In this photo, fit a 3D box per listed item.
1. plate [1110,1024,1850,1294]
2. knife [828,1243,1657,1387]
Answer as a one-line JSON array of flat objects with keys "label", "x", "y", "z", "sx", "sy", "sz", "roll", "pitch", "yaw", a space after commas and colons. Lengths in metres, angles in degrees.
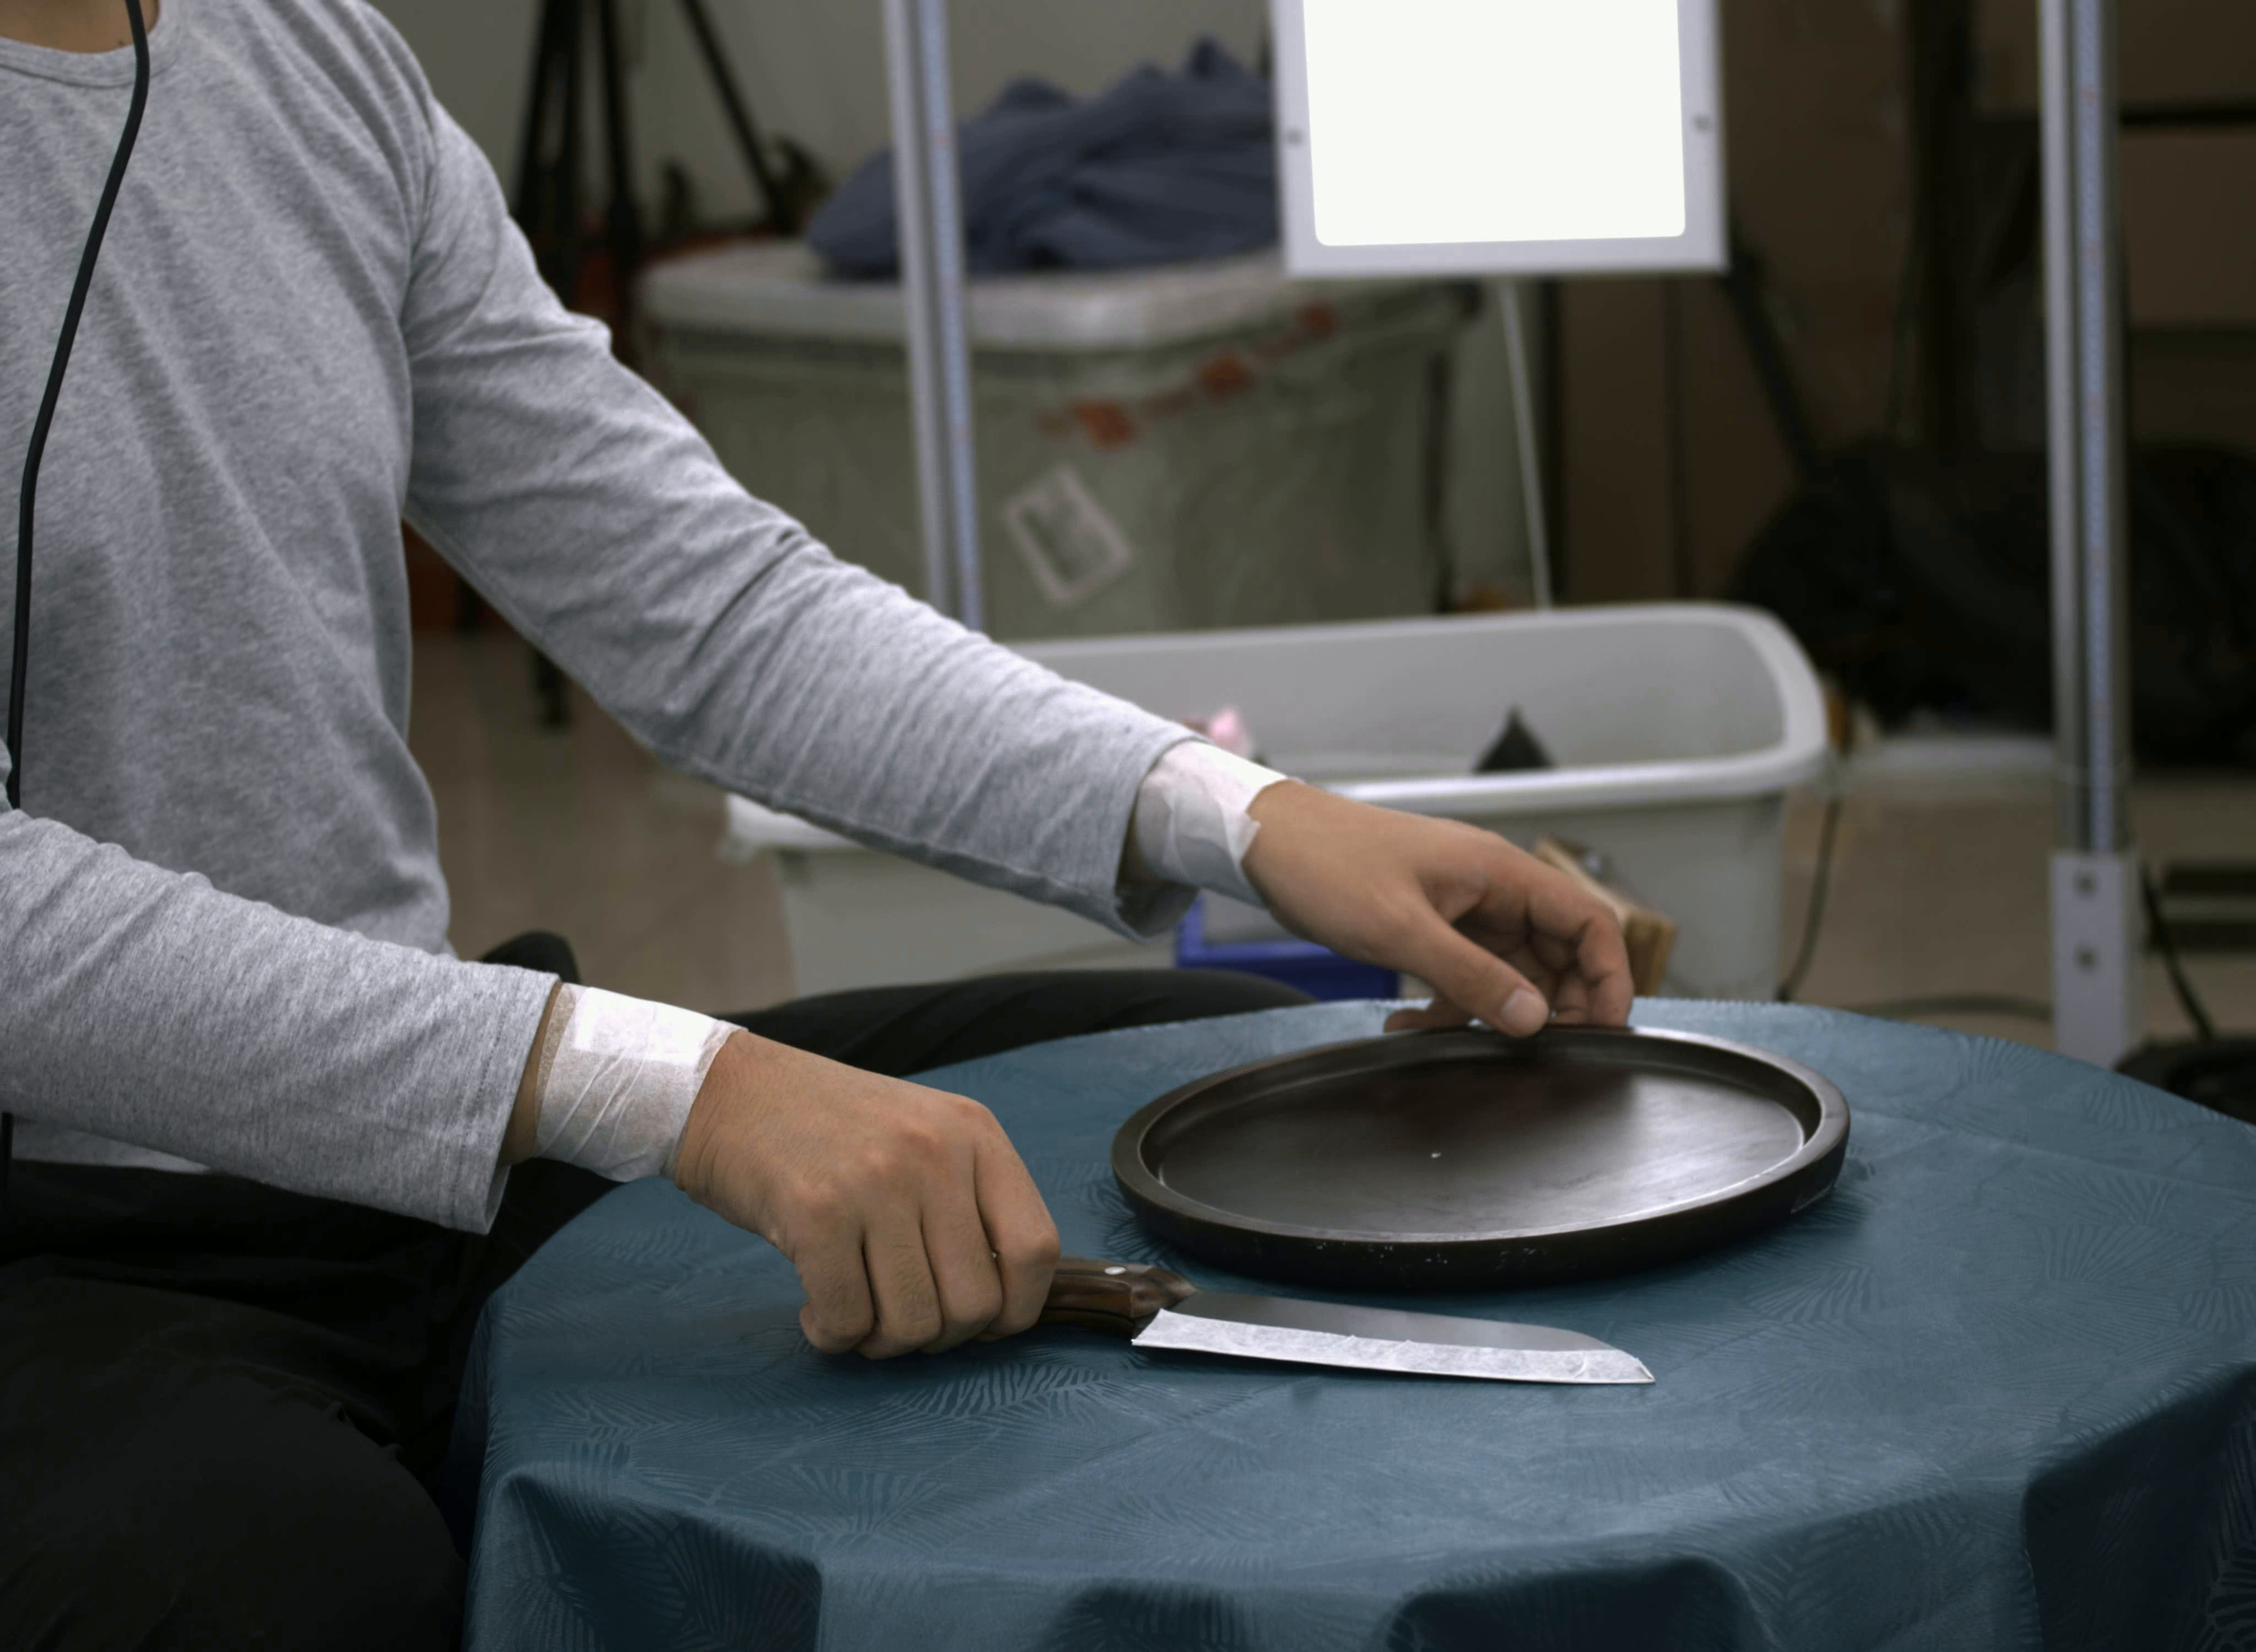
[{"label": "plate", "x": 0.120, "y": 0.111, "z": 1.872, "sx": 0.254, "sy": 0.029, "sz": 0.254, "roll": -7, "pitch": 15, "yaw": 0}, {"label": "knife", "x": 0.031, "y": 0.156, "z": 1.737, "sx": 0.294, "sy": 0.020, "sz": 0.049, "roll": 5, "pitch": 21, "yaw": 26}]
